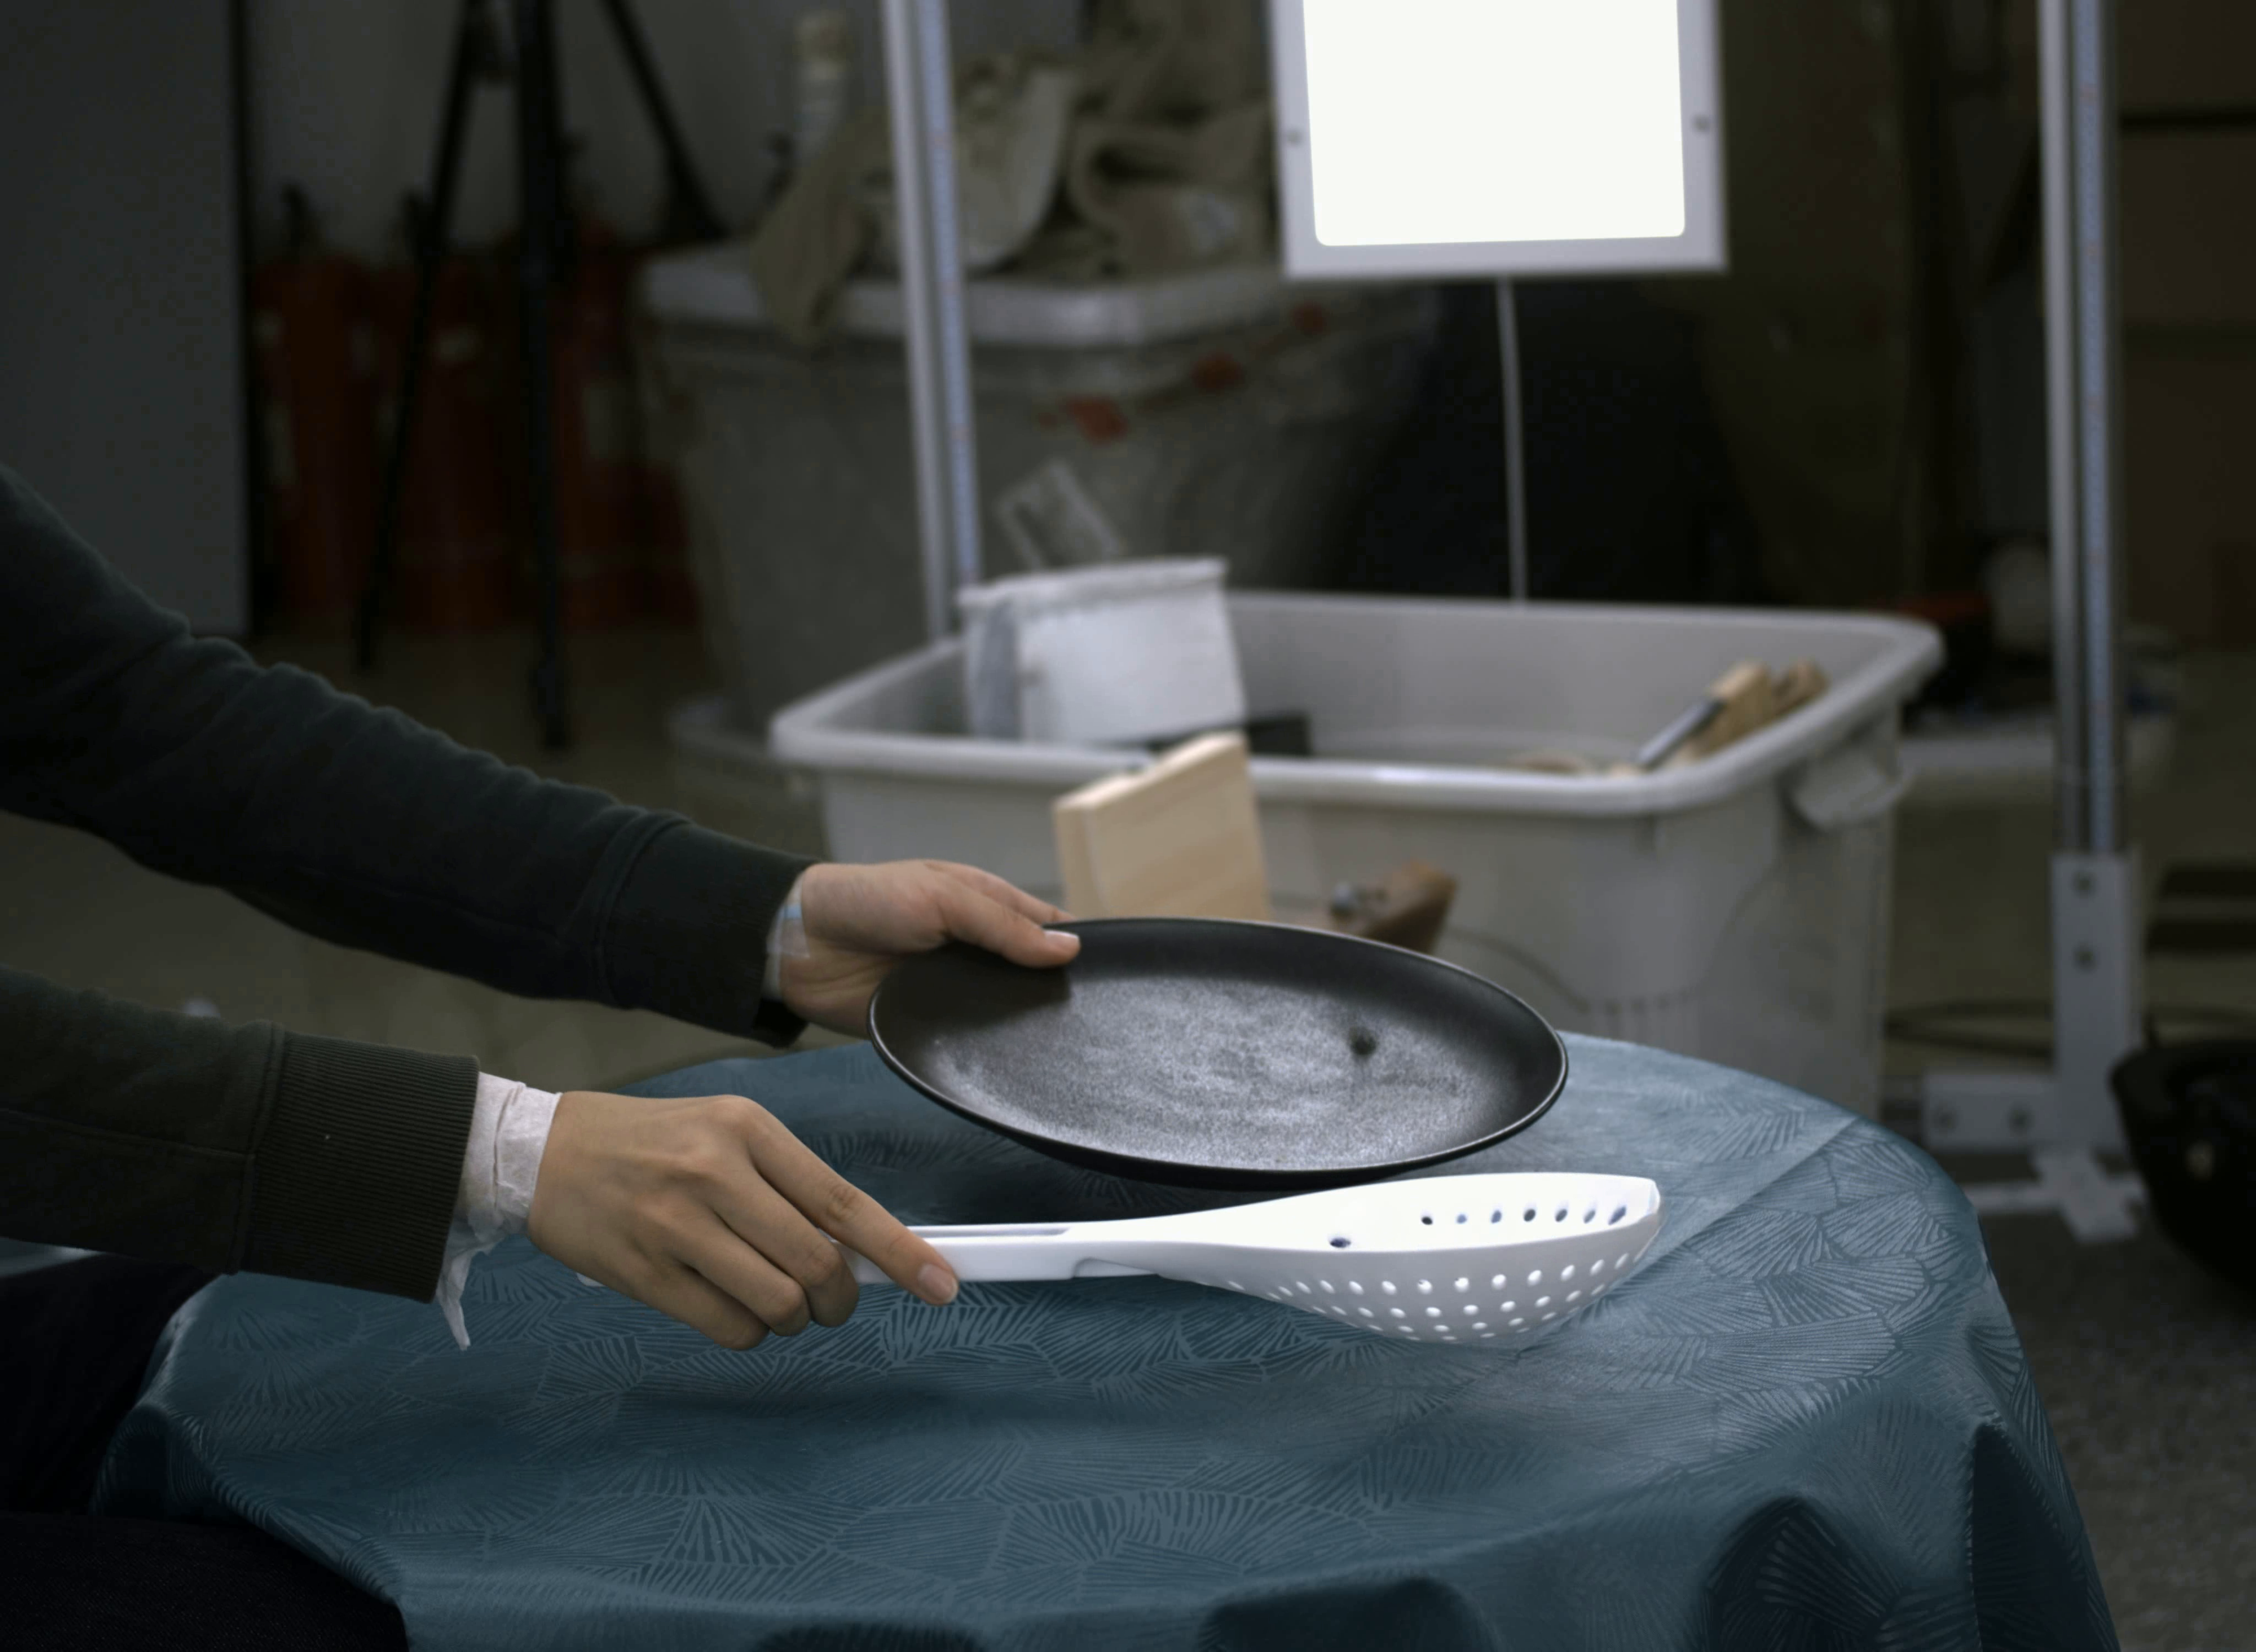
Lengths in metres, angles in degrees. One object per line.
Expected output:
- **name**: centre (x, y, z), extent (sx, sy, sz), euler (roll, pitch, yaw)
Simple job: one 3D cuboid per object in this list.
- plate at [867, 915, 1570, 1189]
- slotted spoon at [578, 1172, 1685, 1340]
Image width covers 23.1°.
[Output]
- **plate**: centre (0.031, 0.081, 1.895), extent (0.243, 0.023, 0.244), euler (2, 18, -2)
- **slotted spoon**: centre (-0.003, 0.128, 1.693), extent (0.353, 0.046, 0.134), euler (2, 5, 17)
